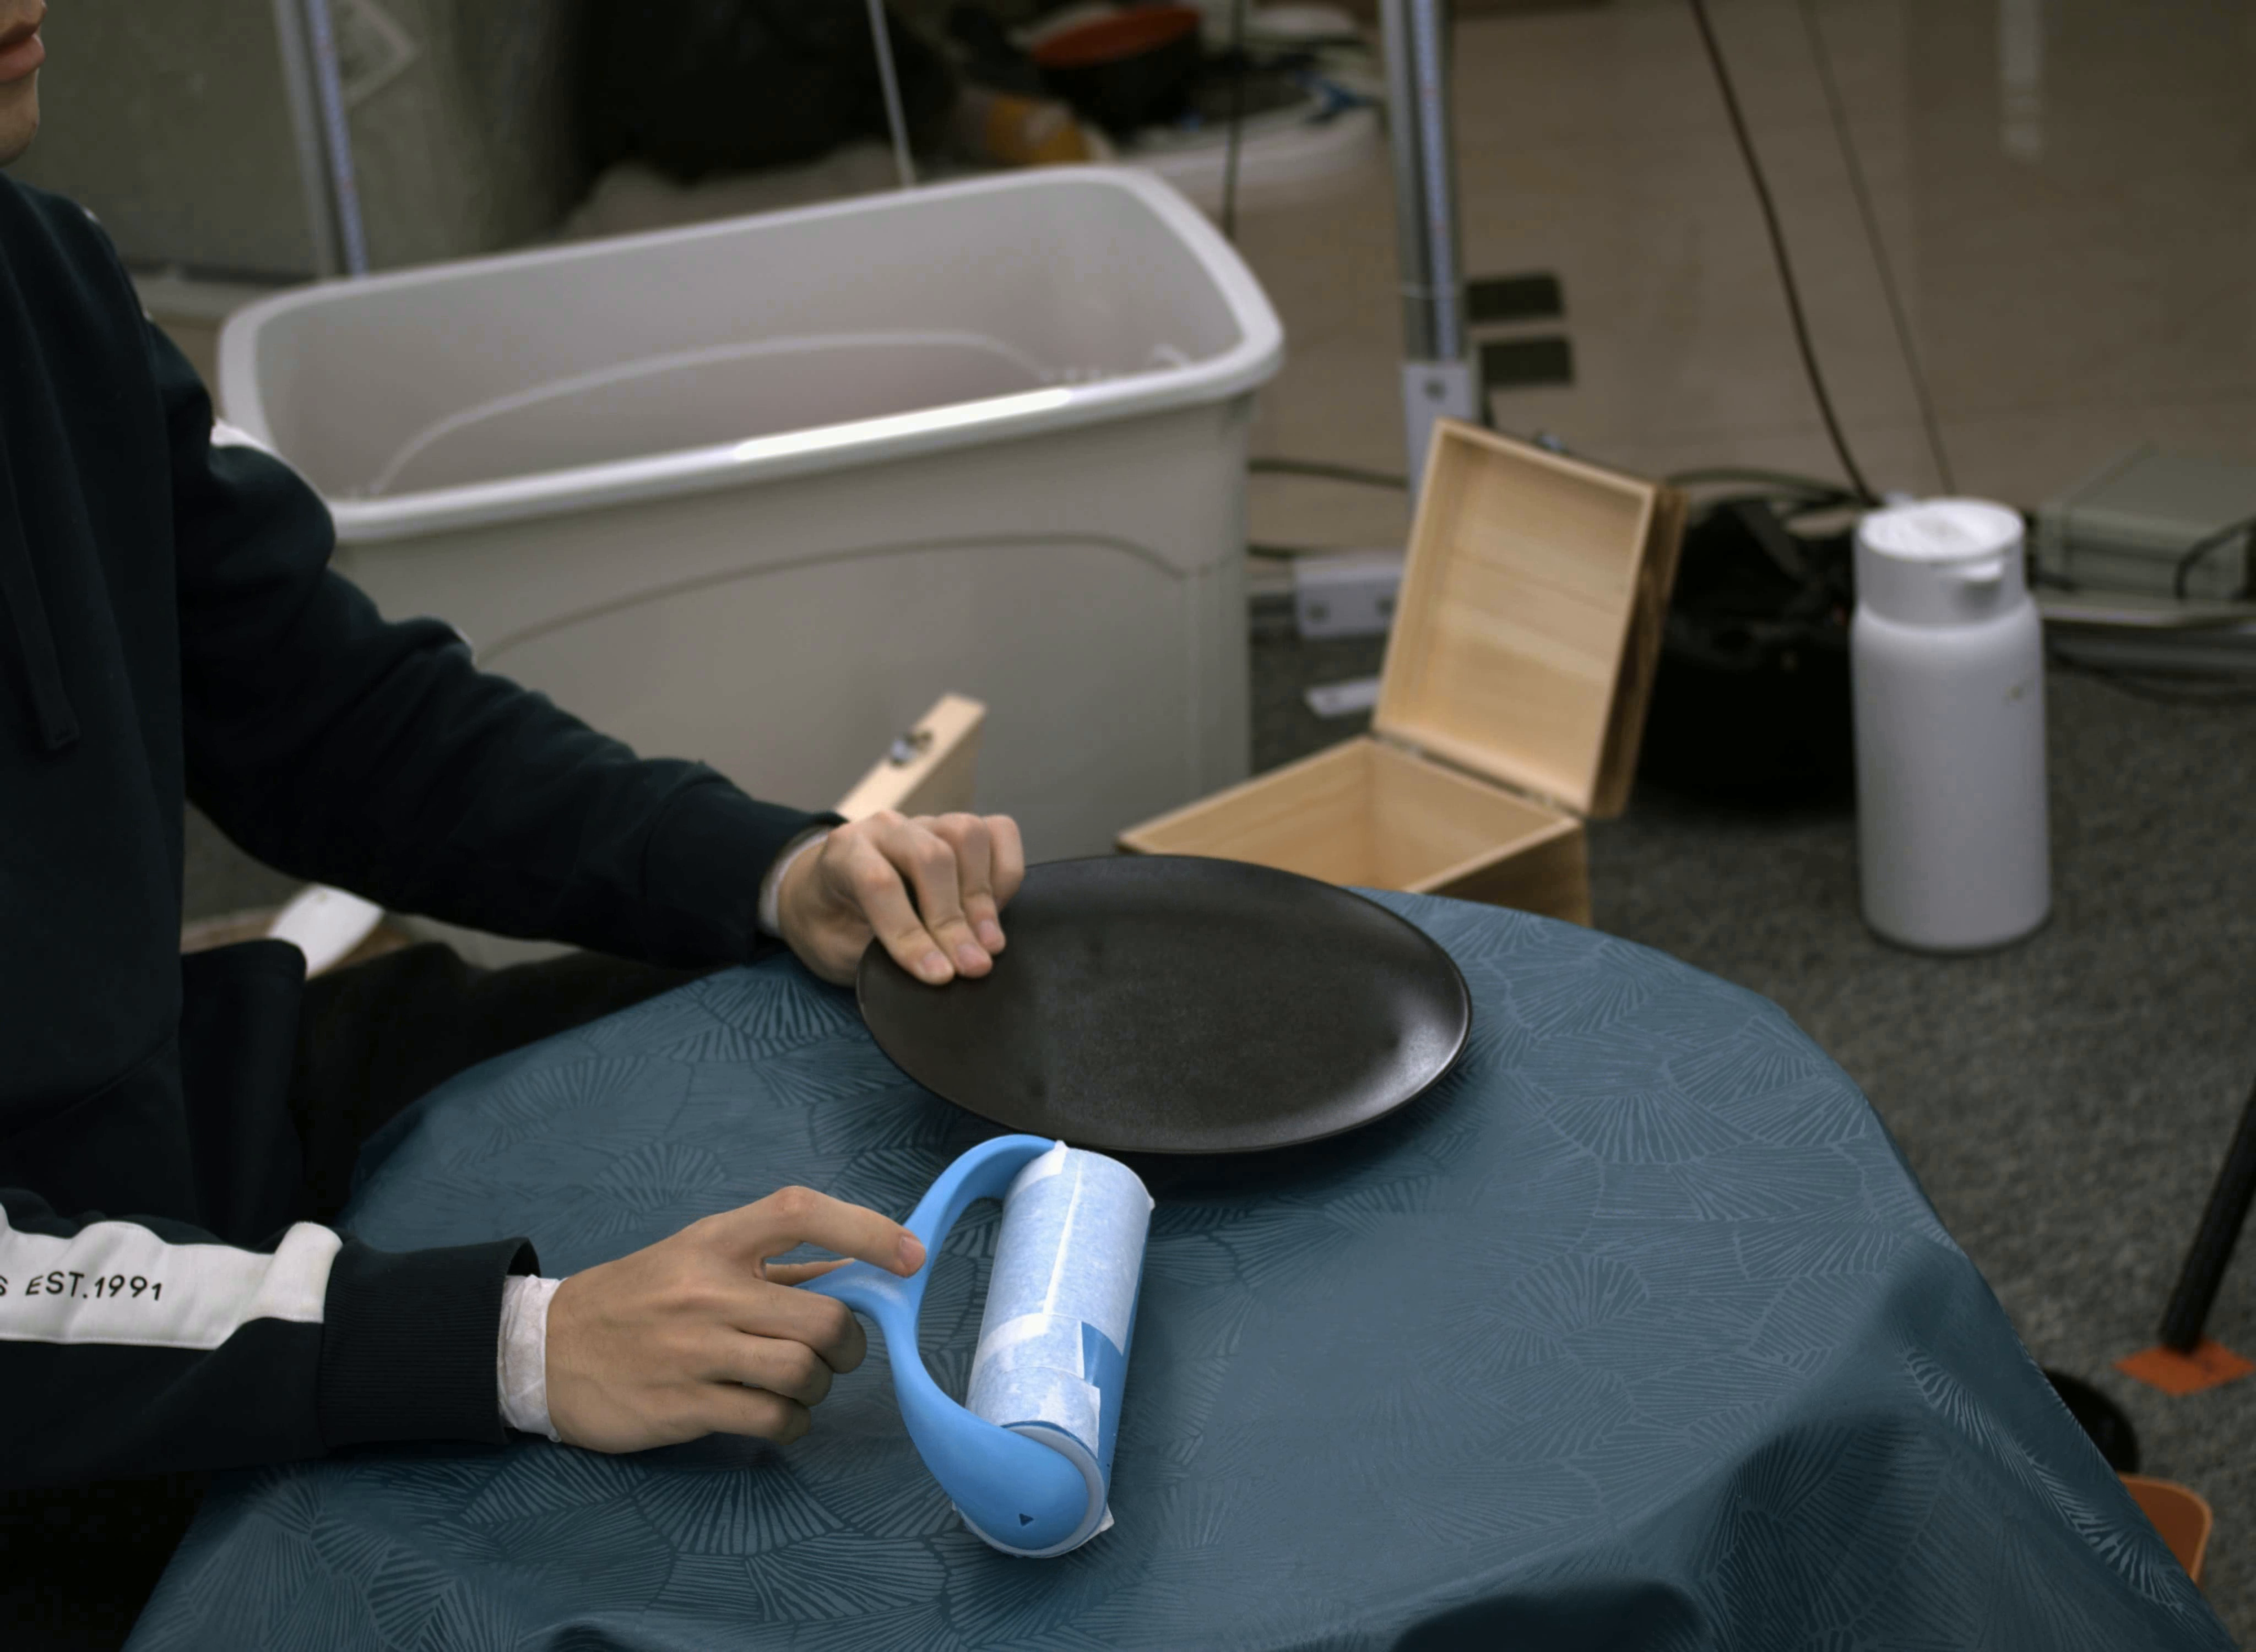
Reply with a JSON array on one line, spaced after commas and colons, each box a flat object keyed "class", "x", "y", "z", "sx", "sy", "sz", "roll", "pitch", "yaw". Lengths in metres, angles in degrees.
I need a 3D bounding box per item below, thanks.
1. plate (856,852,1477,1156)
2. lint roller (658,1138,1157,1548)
[{"class": "plate", "x": 0.014, "y": 0.074, "z": 2.220, "sx": 0.244, "sy": 0.024, "sz": 0.240, "roll": 2, "pitch": 27, "yaw": -1}, {"class": "lint roller", "x": -0.082, "y": 0.186, "z": 1.997, "sx": 0.180, "sy": 0.069, "sz": 0.225, "roll": -6, "pitch": 26, "yaw": 4}]
